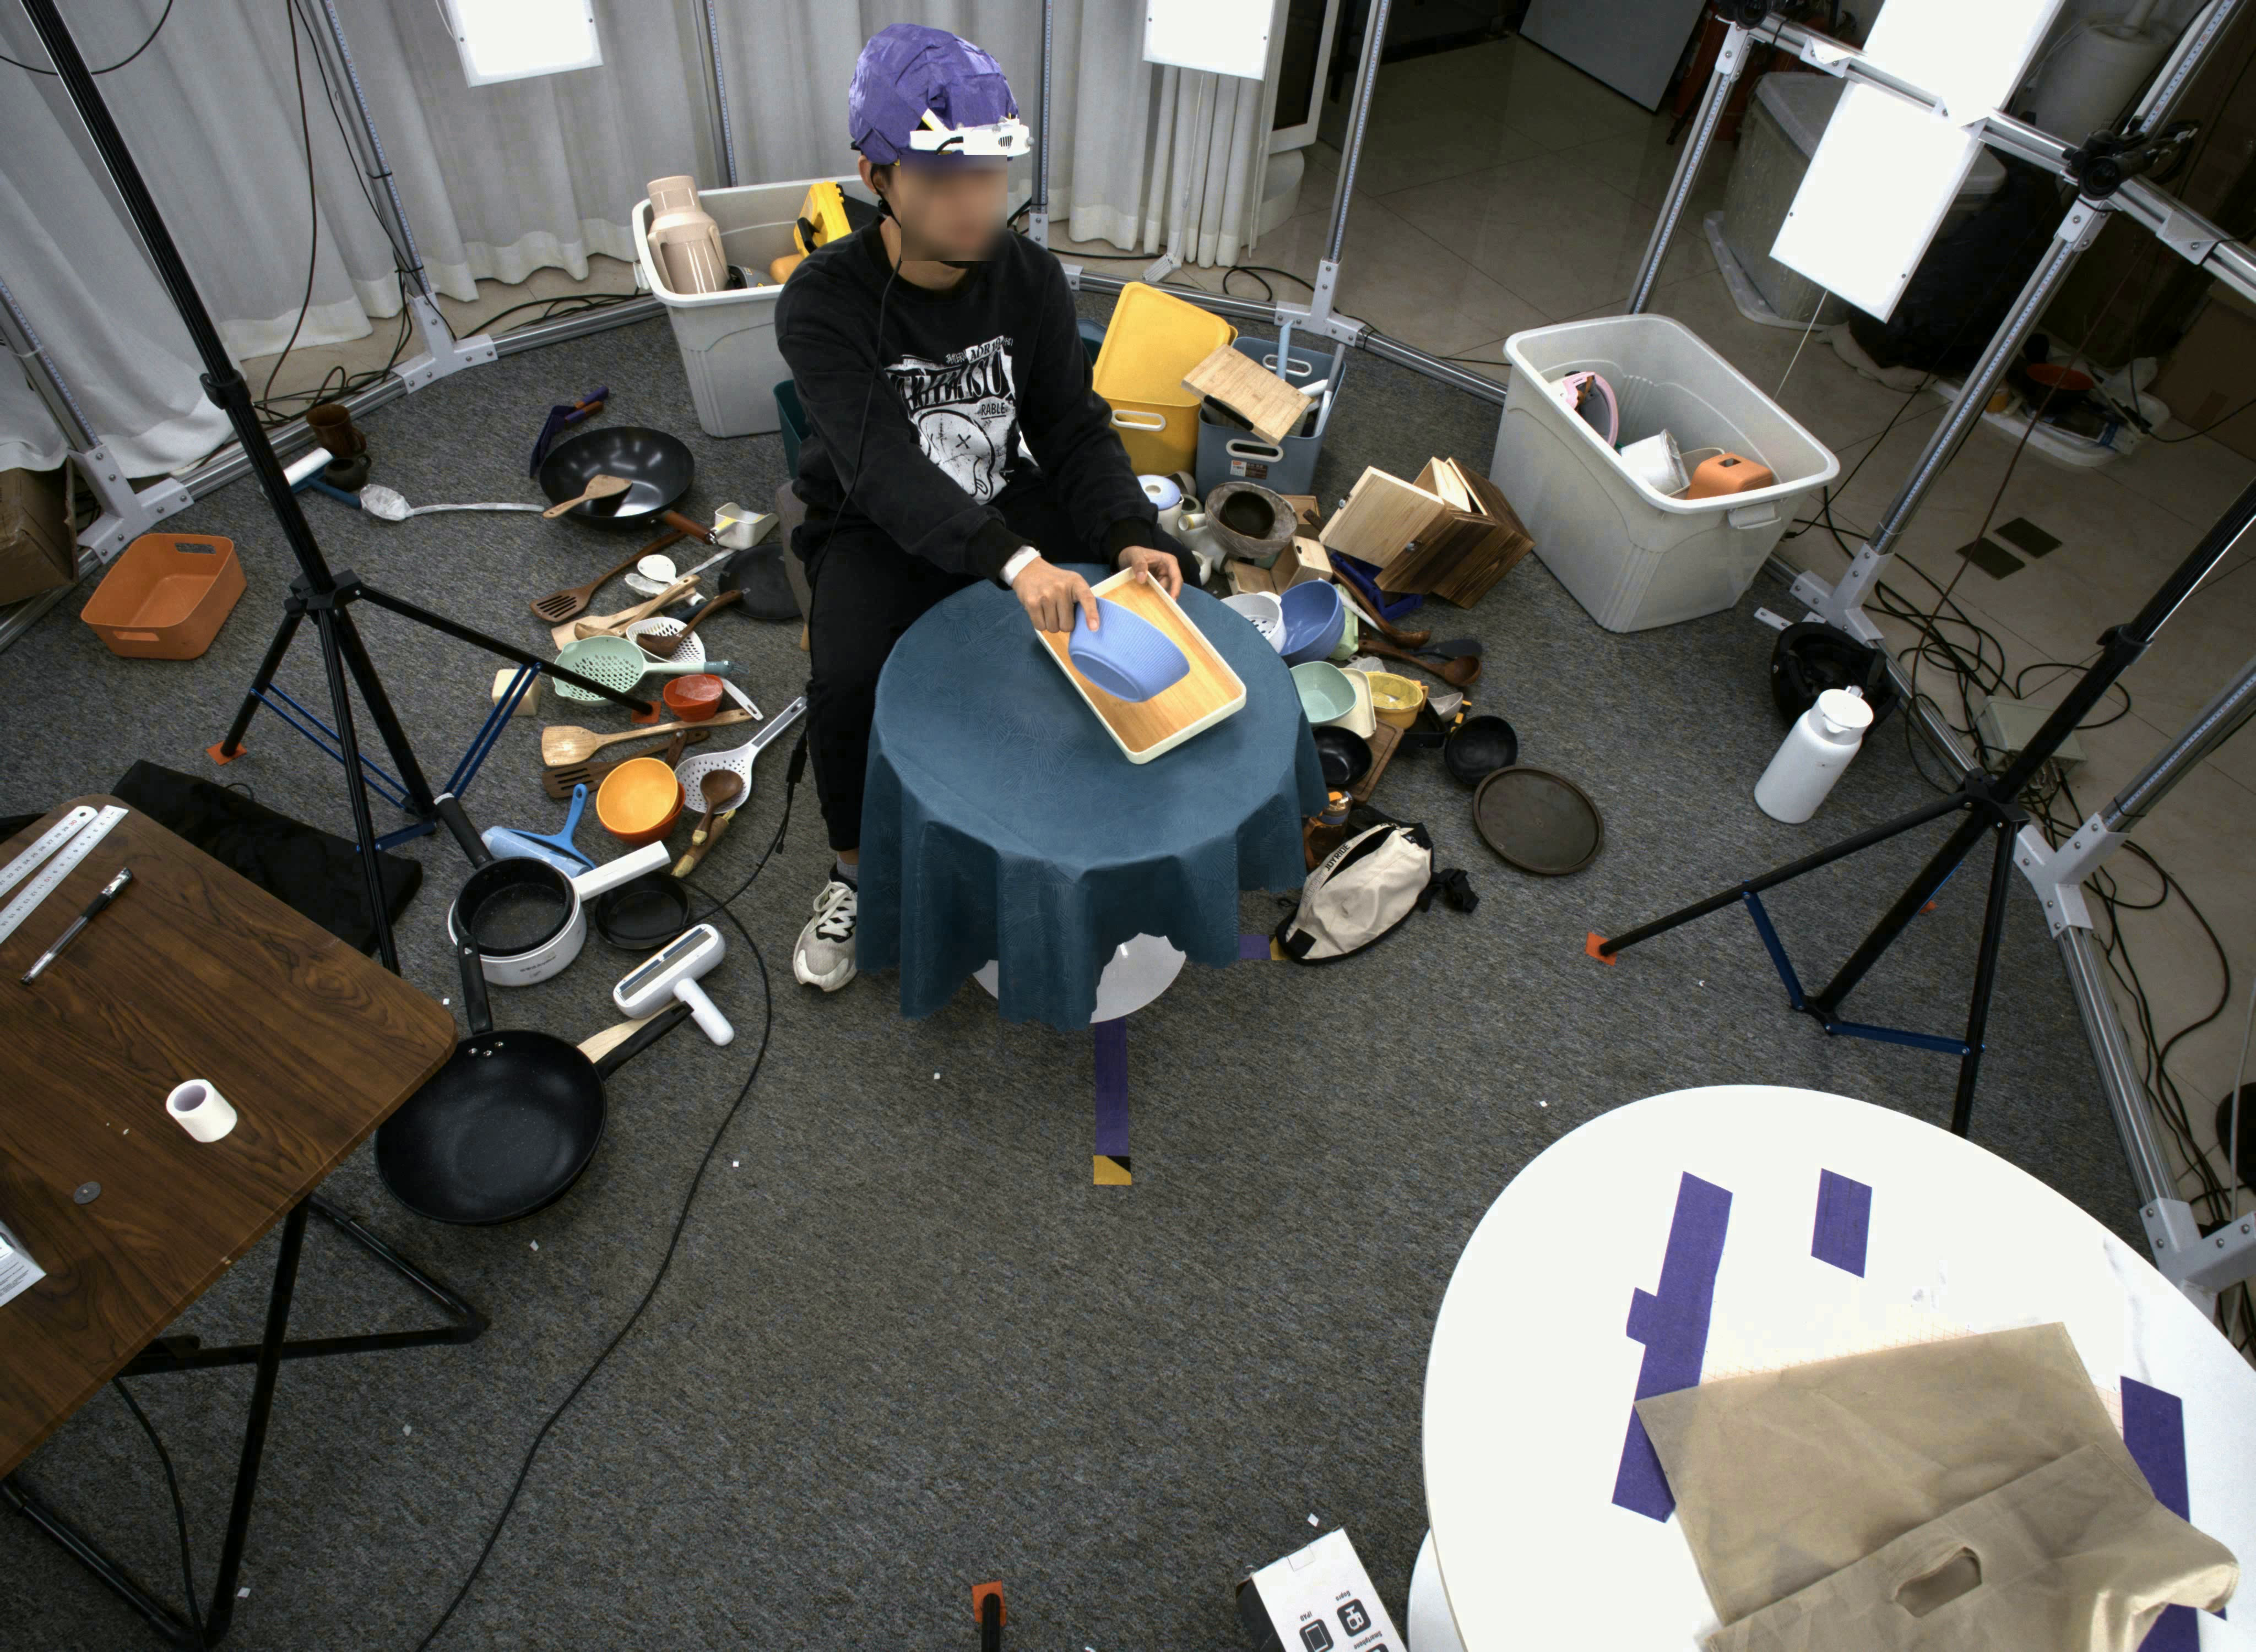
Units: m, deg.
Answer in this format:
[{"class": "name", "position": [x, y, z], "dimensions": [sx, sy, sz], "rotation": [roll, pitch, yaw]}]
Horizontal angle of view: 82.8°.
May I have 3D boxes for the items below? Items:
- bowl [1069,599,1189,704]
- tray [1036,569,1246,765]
[{"class": "bowl", "position": [-0.012, -0.219, 1.684], "dimensions": [0.178, 0.173, 0.071], "rotation": [28, 78, 18]}, {"class": "tray", "position": [0.016, -0.234, 1.841], "dimensions": [0.192, 0.027, 0.306], "rotation": [-29, 57, -10]}]
